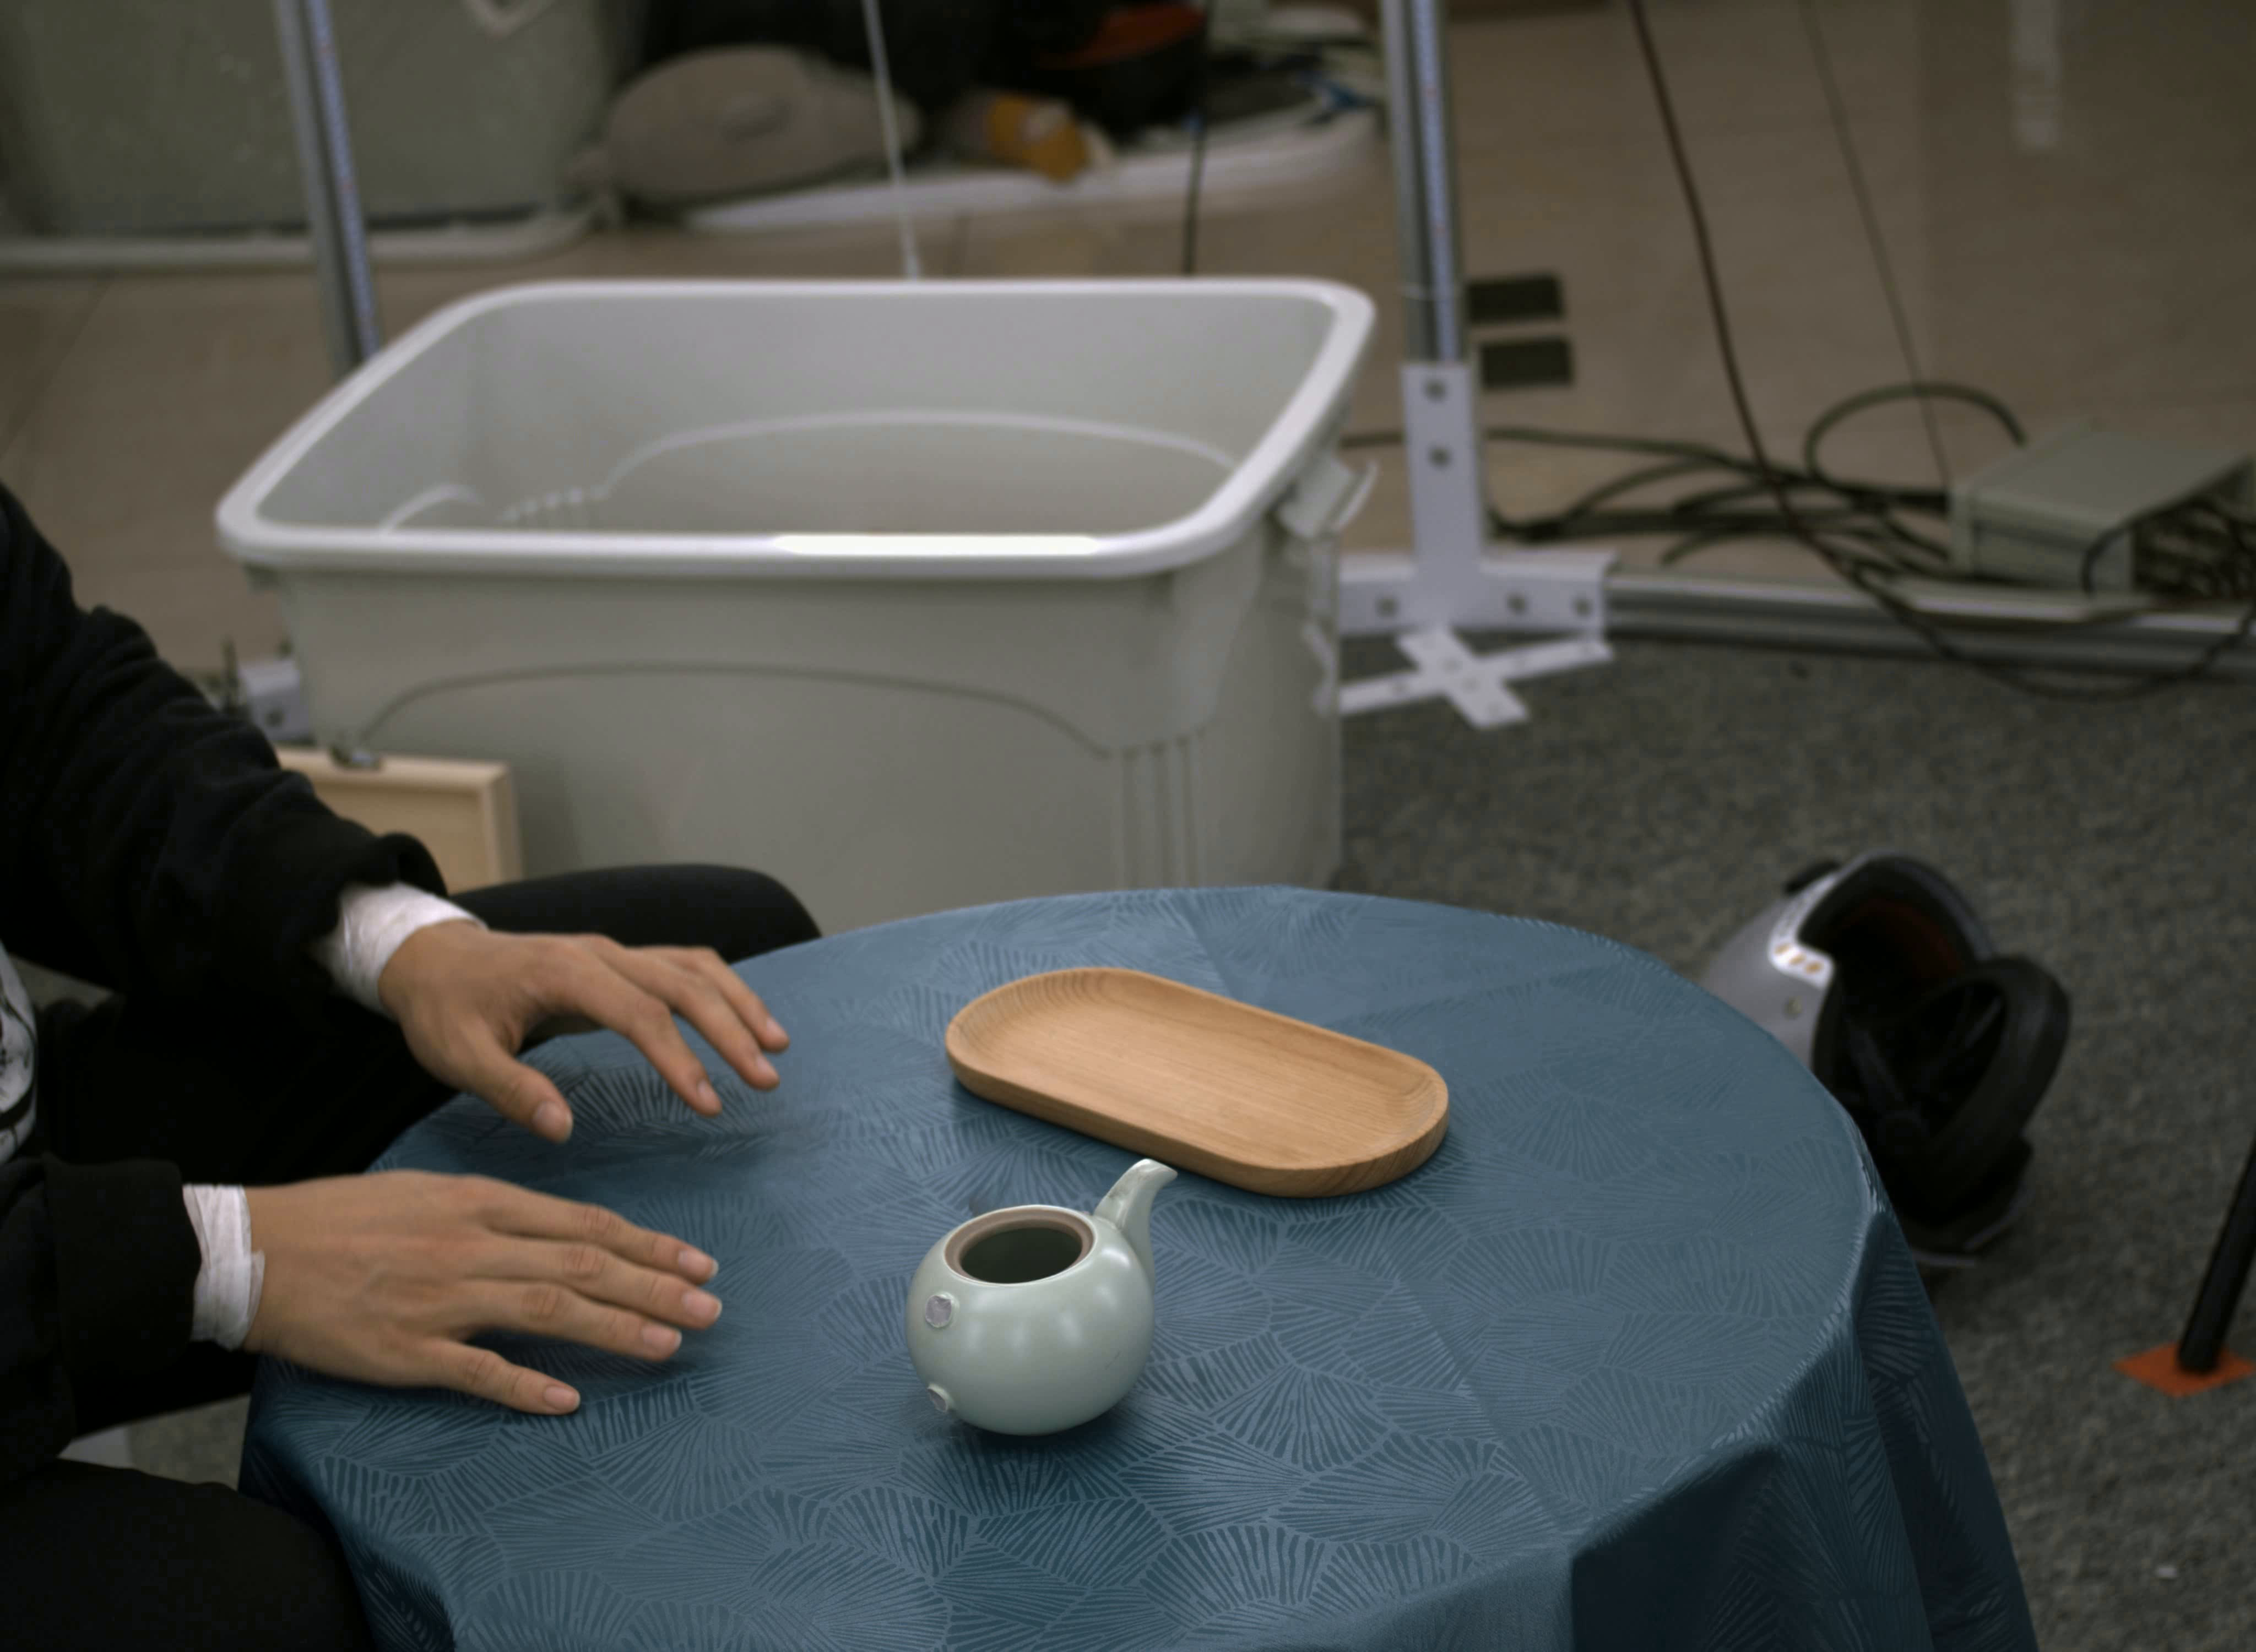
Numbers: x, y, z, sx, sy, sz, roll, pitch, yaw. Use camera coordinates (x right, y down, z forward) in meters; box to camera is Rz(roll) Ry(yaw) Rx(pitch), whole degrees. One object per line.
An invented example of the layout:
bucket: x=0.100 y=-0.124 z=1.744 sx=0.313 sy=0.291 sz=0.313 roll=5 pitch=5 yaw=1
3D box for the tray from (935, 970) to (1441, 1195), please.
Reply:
tray: x=0.022 y=0.099 z=2.212 sx=0.229 sy=0.020 sz=0.101 roll=15 pitch=31 yaw=41

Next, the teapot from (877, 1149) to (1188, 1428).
teapot: x=-0.030 y=0.171 z=2.004 sx=0.143 sy=0.076 sz=0.087 roll=-25 pitch=30 yaw=-33
